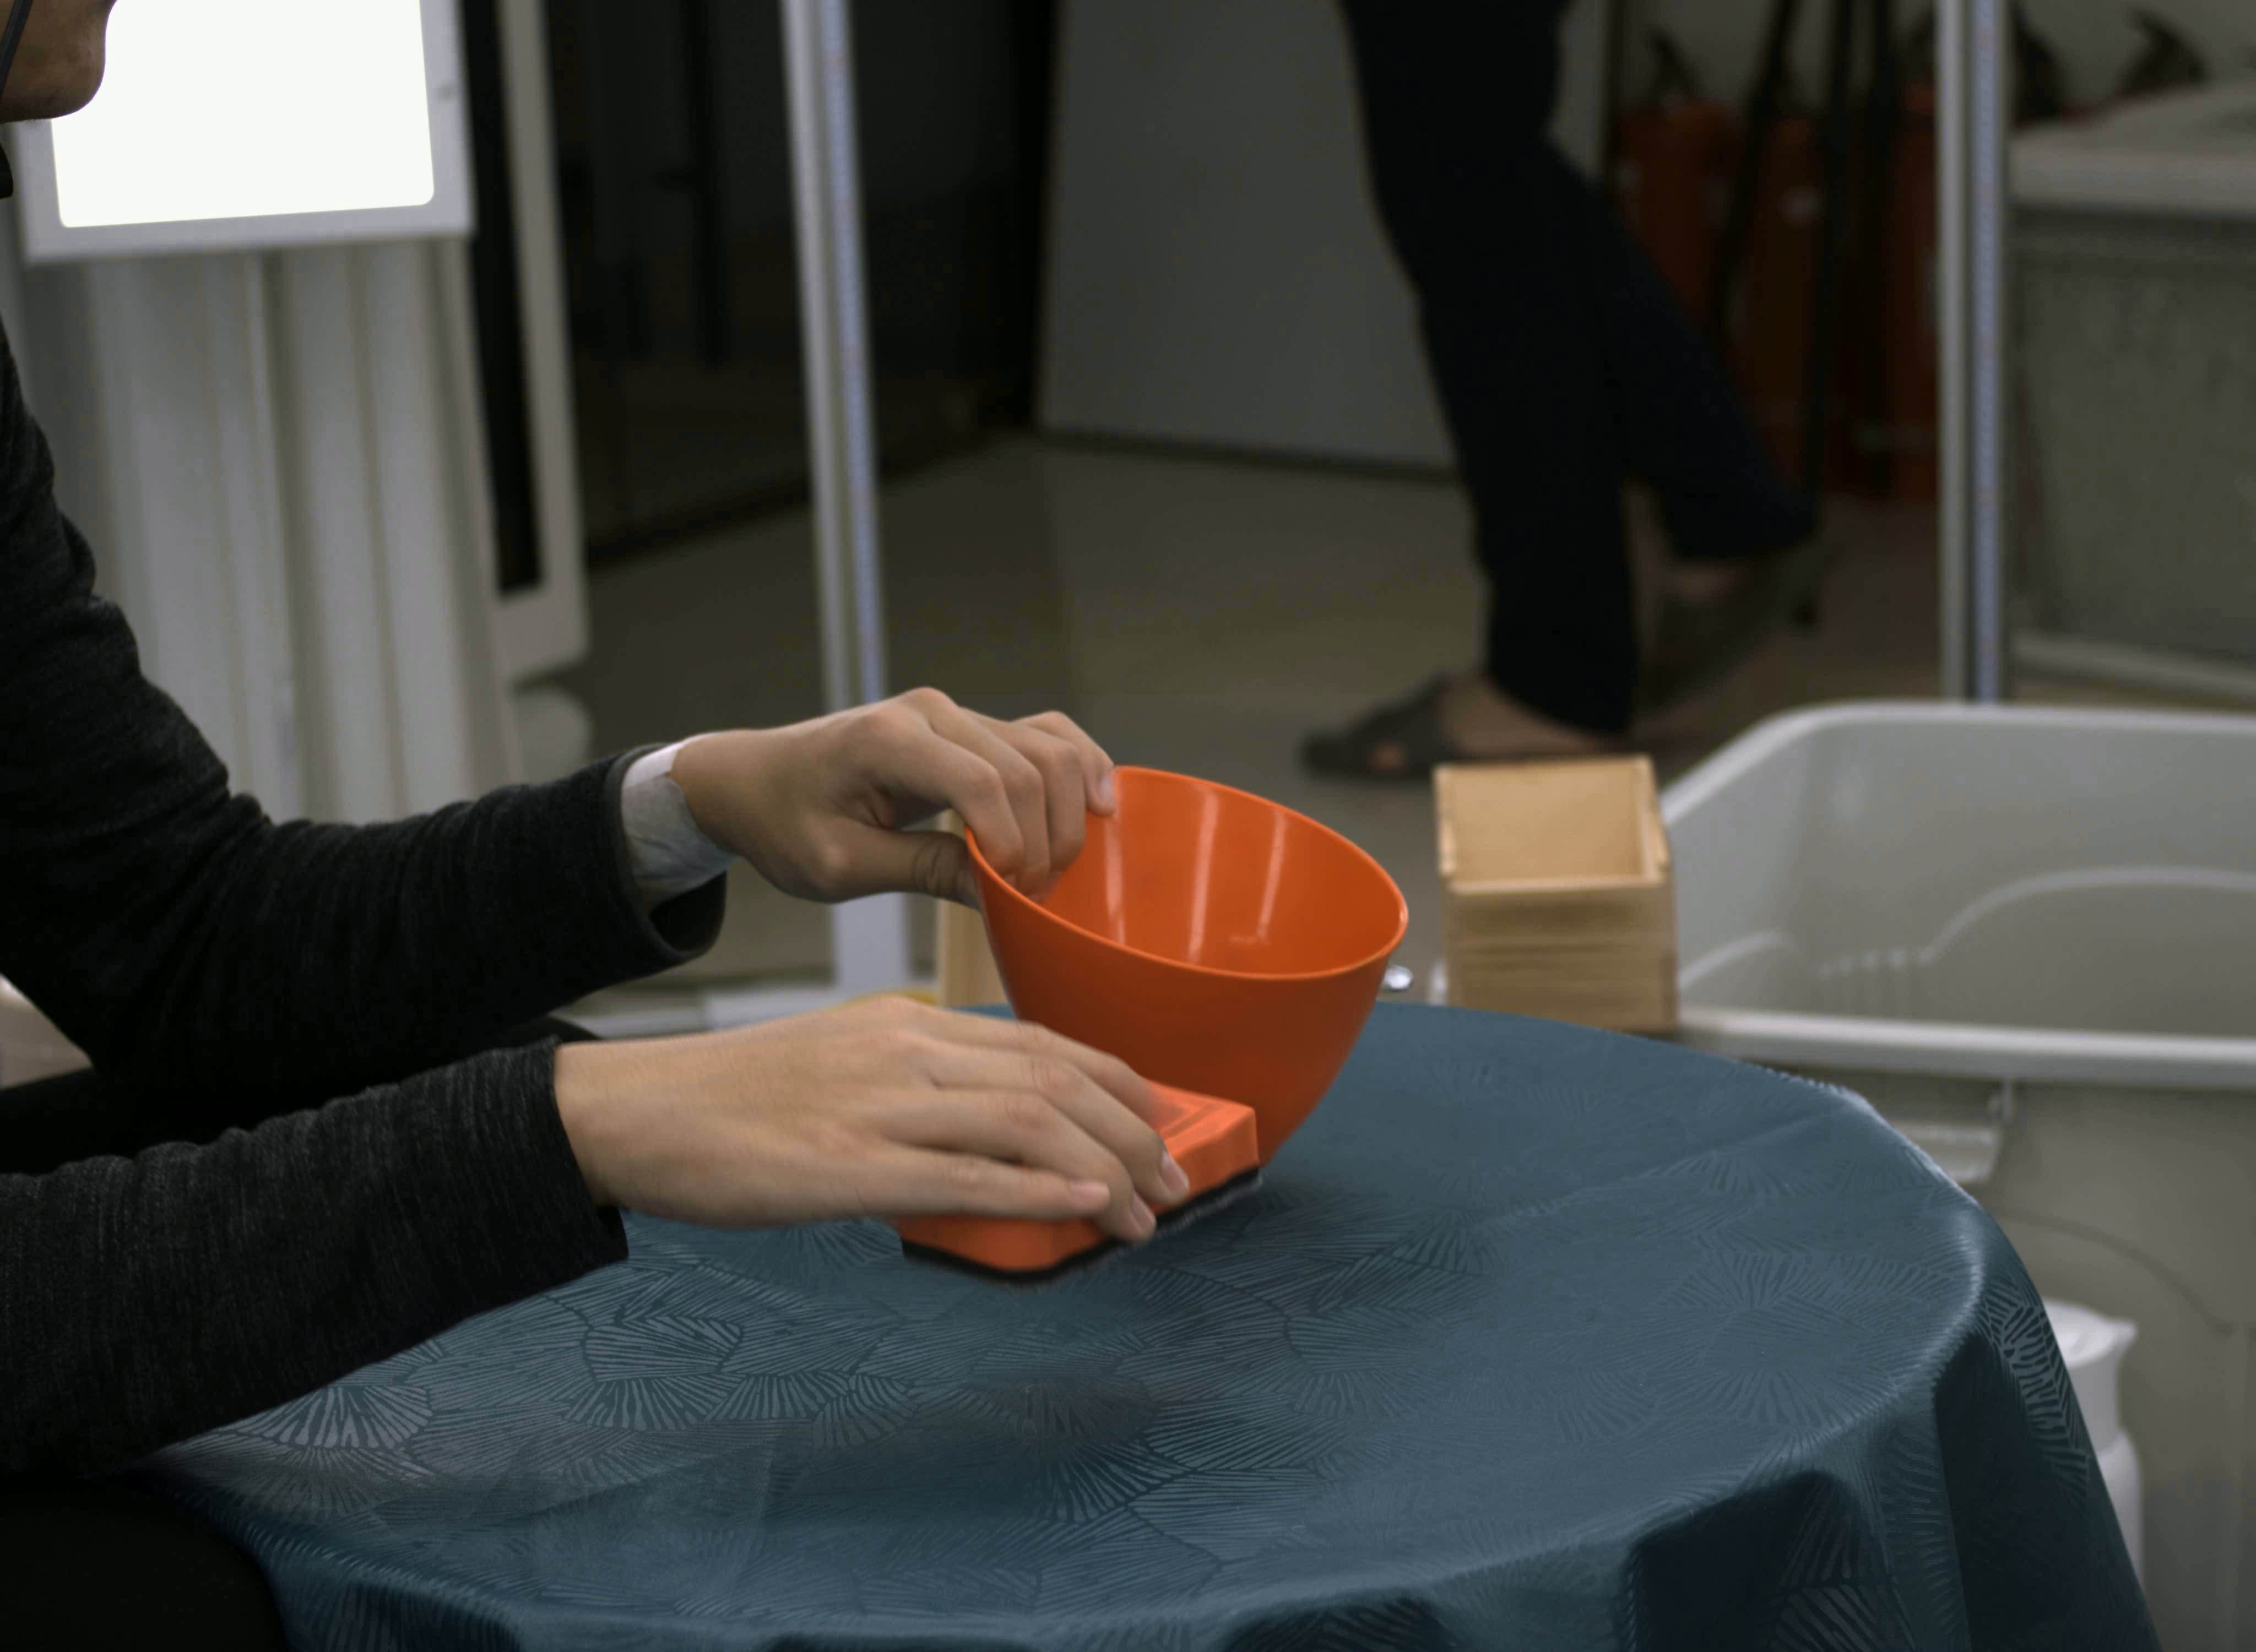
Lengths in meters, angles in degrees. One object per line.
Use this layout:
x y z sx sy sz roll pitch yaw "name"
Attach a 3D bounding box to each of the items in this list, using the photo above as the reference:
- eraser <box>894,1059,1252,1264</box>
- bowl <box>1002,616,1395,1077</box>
-0.015 0.095 1.551 0.059 0.023 0.106 11 21 39 "eraser"
0.008 0.018 1.734 0.147 0.105 0.148 34 8 -6 "bowl"
